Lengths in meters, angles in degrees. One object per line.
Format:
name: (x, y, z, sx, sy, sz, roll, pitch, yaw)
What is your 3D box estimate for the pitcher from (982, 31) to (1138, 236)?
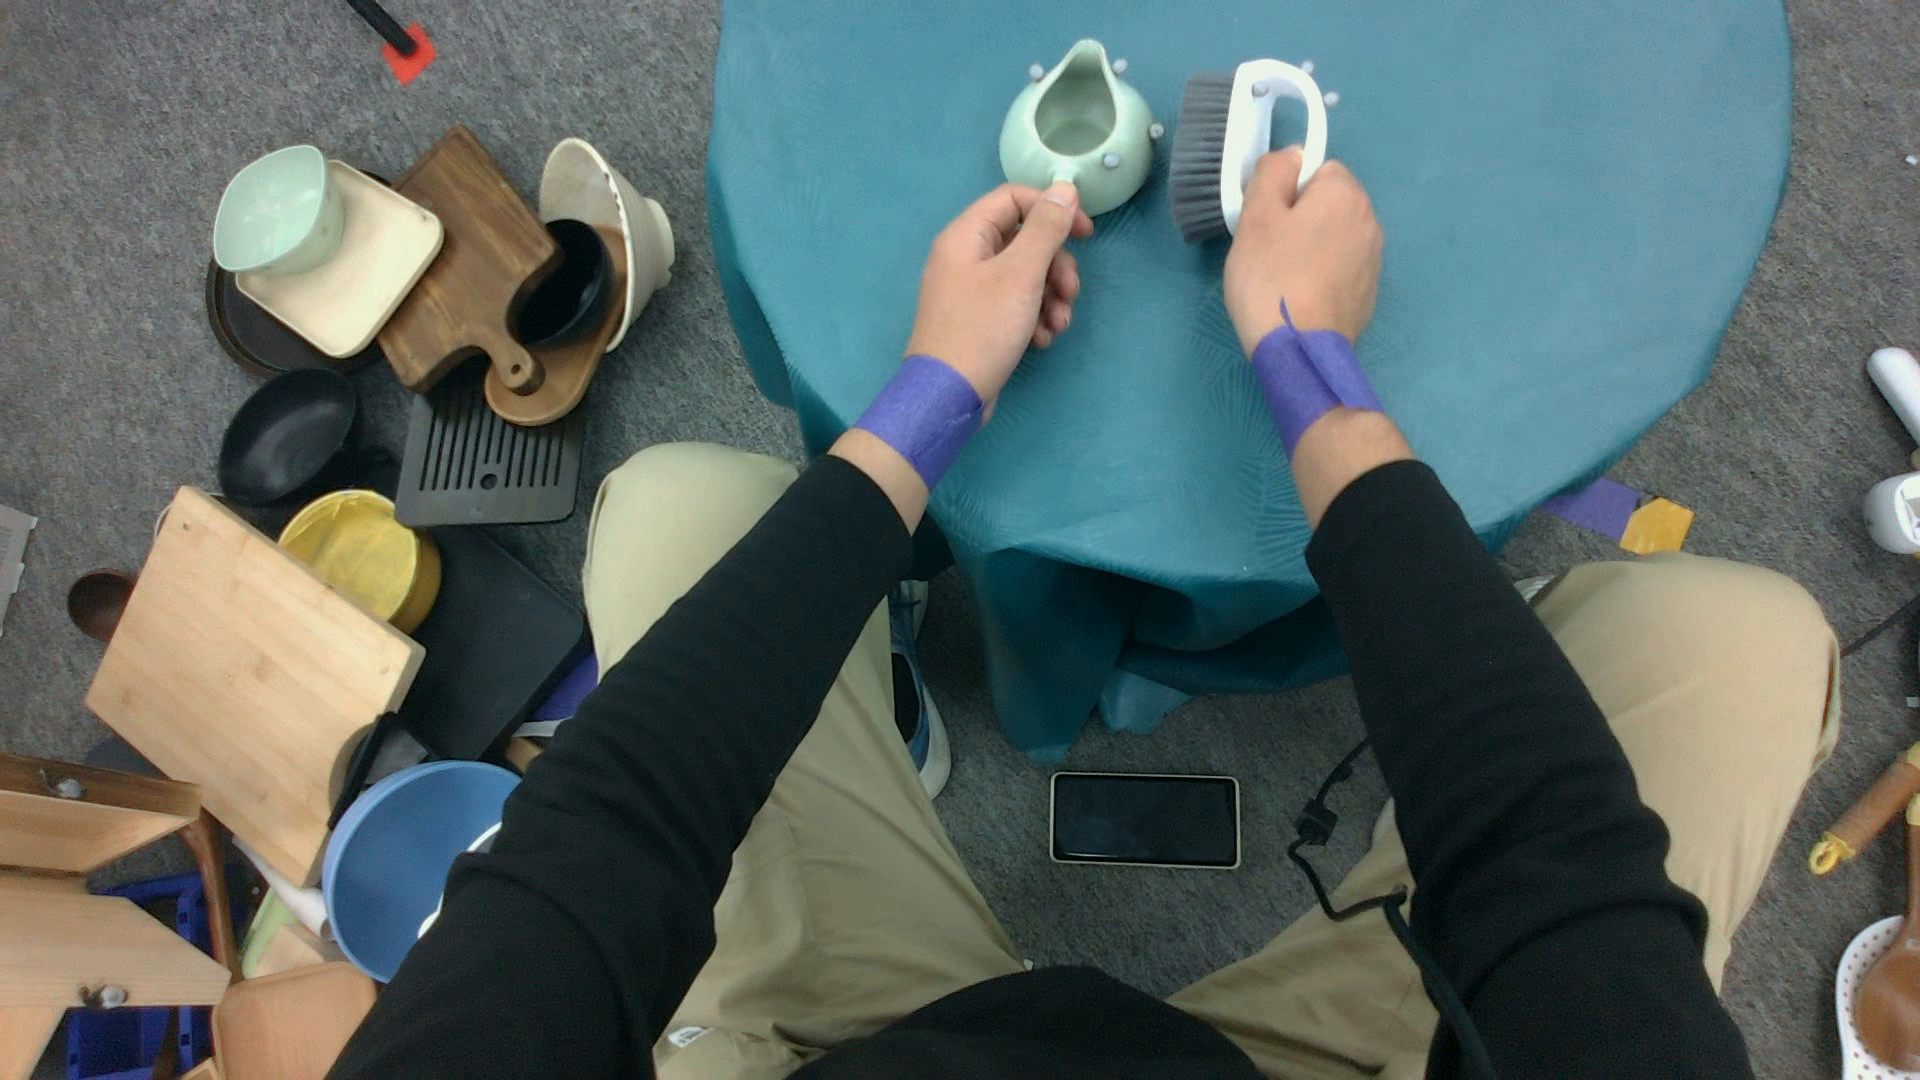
pitcher: (0.052, -0.214, 0.748, 0.086, 0.060, 0.108, 7, 80, 8)

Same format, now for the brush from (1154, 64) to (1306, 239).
brush: (0.145, -0.208, 0.727, 0.072, 0.050, 0.099, -2, 62, 25)
